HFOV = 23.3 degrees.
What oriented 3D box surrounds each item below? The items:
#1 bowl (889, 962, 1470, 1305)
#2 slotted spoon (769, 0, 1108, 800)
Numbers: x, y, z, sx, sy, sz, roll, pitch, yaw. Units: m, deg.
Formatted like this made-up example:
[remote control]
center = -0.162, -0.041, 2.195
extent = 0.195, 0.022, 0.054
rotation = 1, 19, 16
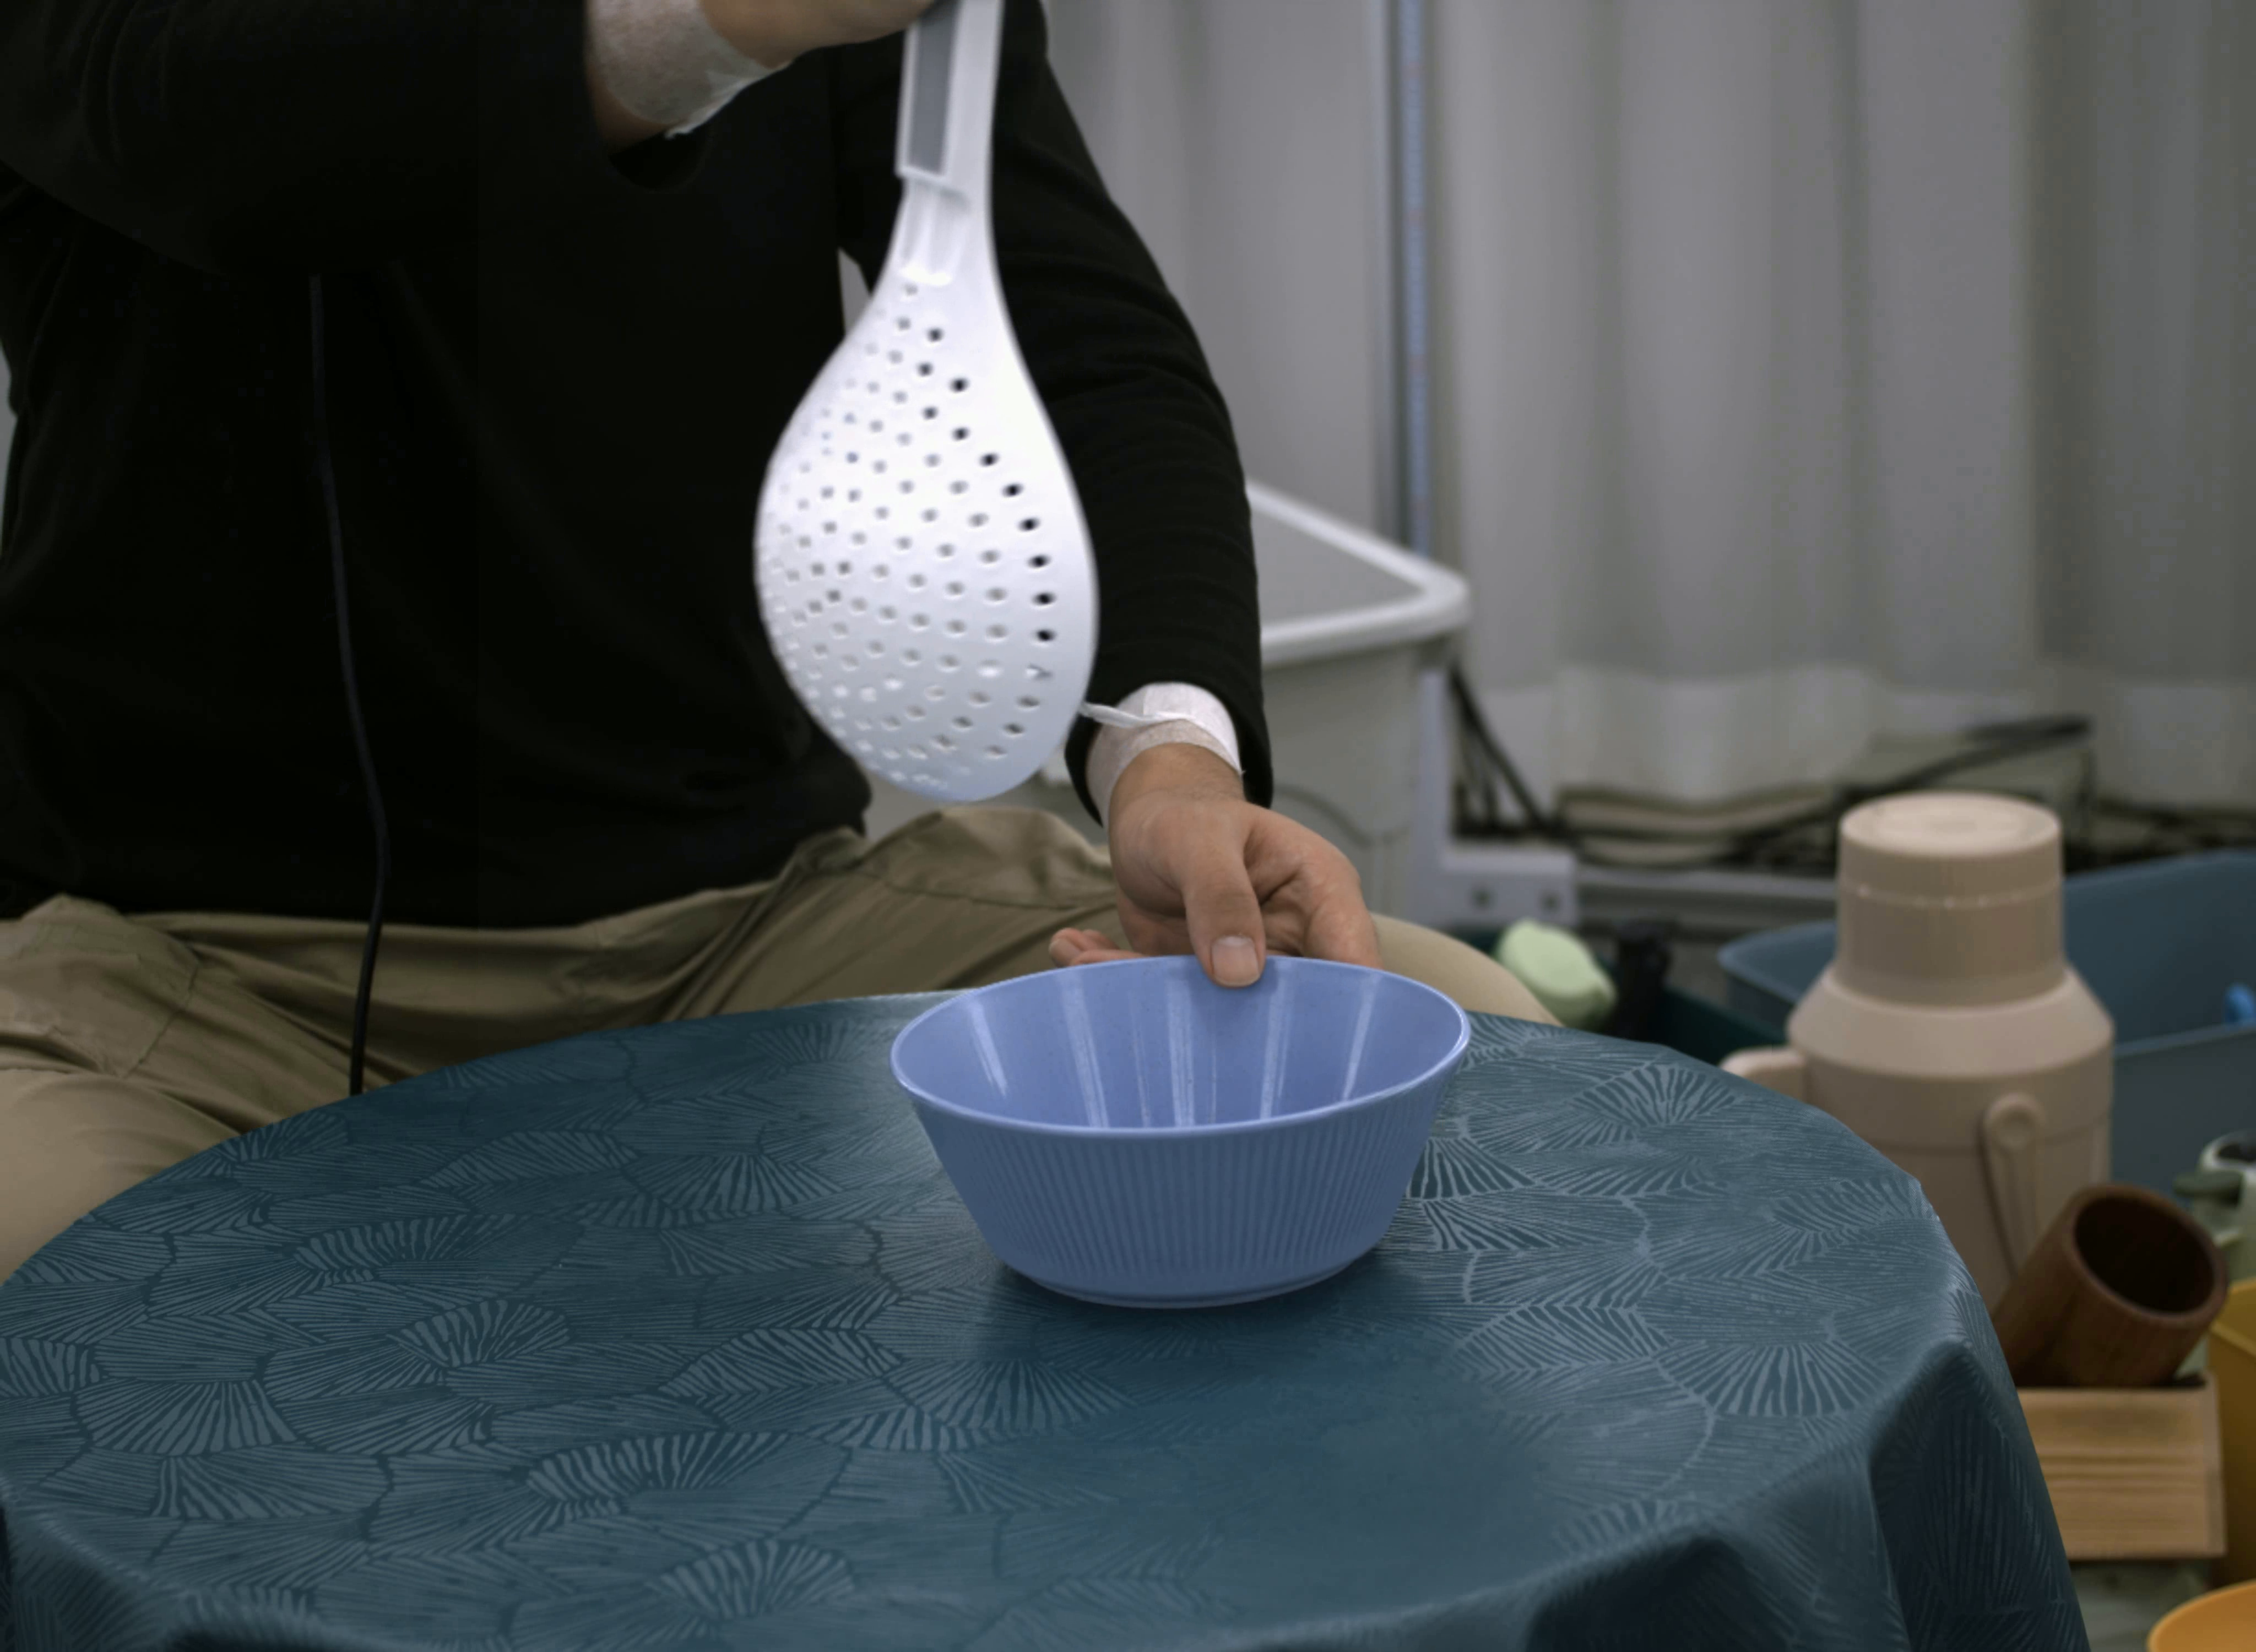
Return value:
[bowl]
center = 0.017, 0.095, 1.651
extent = 0.175, 0.070, 0.177
rotation = -4, 14, 1
[slotted spoon]
center = -0.051, -0.175, 1.581
extent = 0.137, 0.348, 0.045
rotation = 21, 20, 40
